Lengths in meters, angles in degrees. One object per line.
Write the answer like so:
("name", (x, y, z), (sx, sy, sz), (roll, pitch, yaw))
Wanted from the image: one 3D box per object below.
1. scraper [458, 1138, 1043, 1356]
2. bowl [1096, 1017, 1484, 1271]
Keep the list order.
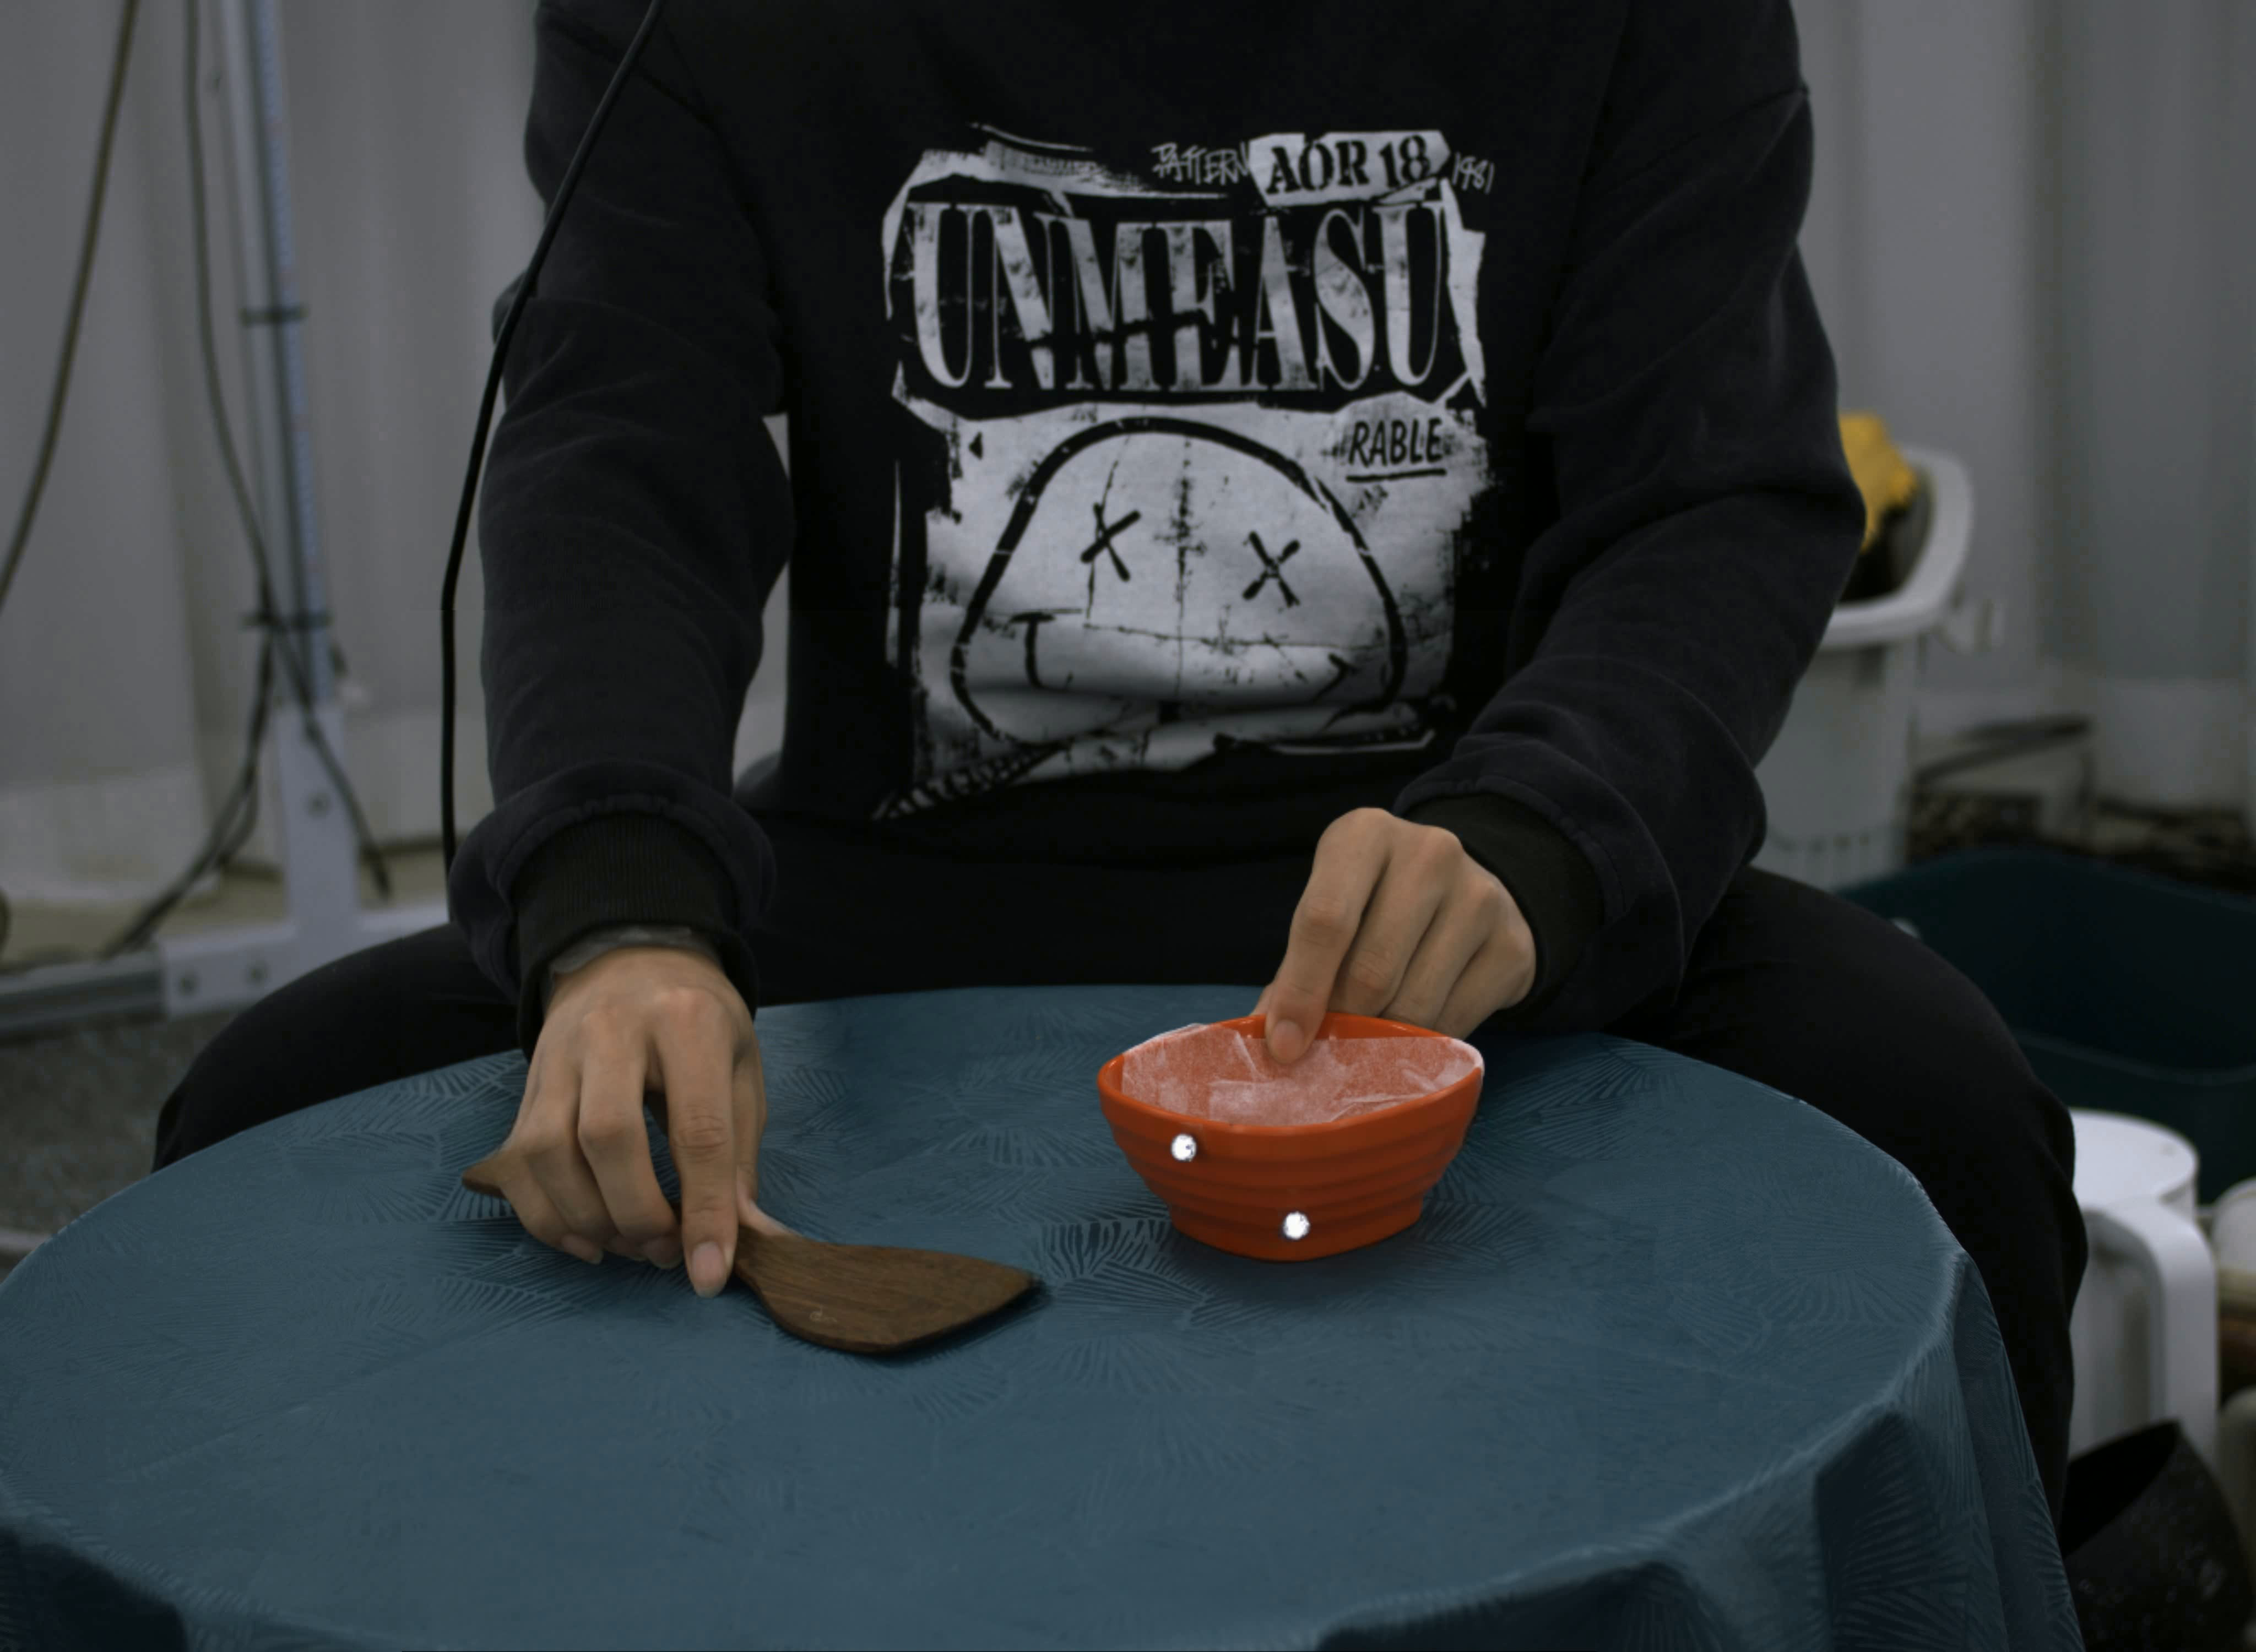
("scraper", (-0.123, 0.125, 1.659), (0.212, 0.011, 0.076), (16, 22, 37))
("bowl", (0.051, 0.099, 1.673), (0.118, 0.051, 0.120), (-4, 15, 1))
